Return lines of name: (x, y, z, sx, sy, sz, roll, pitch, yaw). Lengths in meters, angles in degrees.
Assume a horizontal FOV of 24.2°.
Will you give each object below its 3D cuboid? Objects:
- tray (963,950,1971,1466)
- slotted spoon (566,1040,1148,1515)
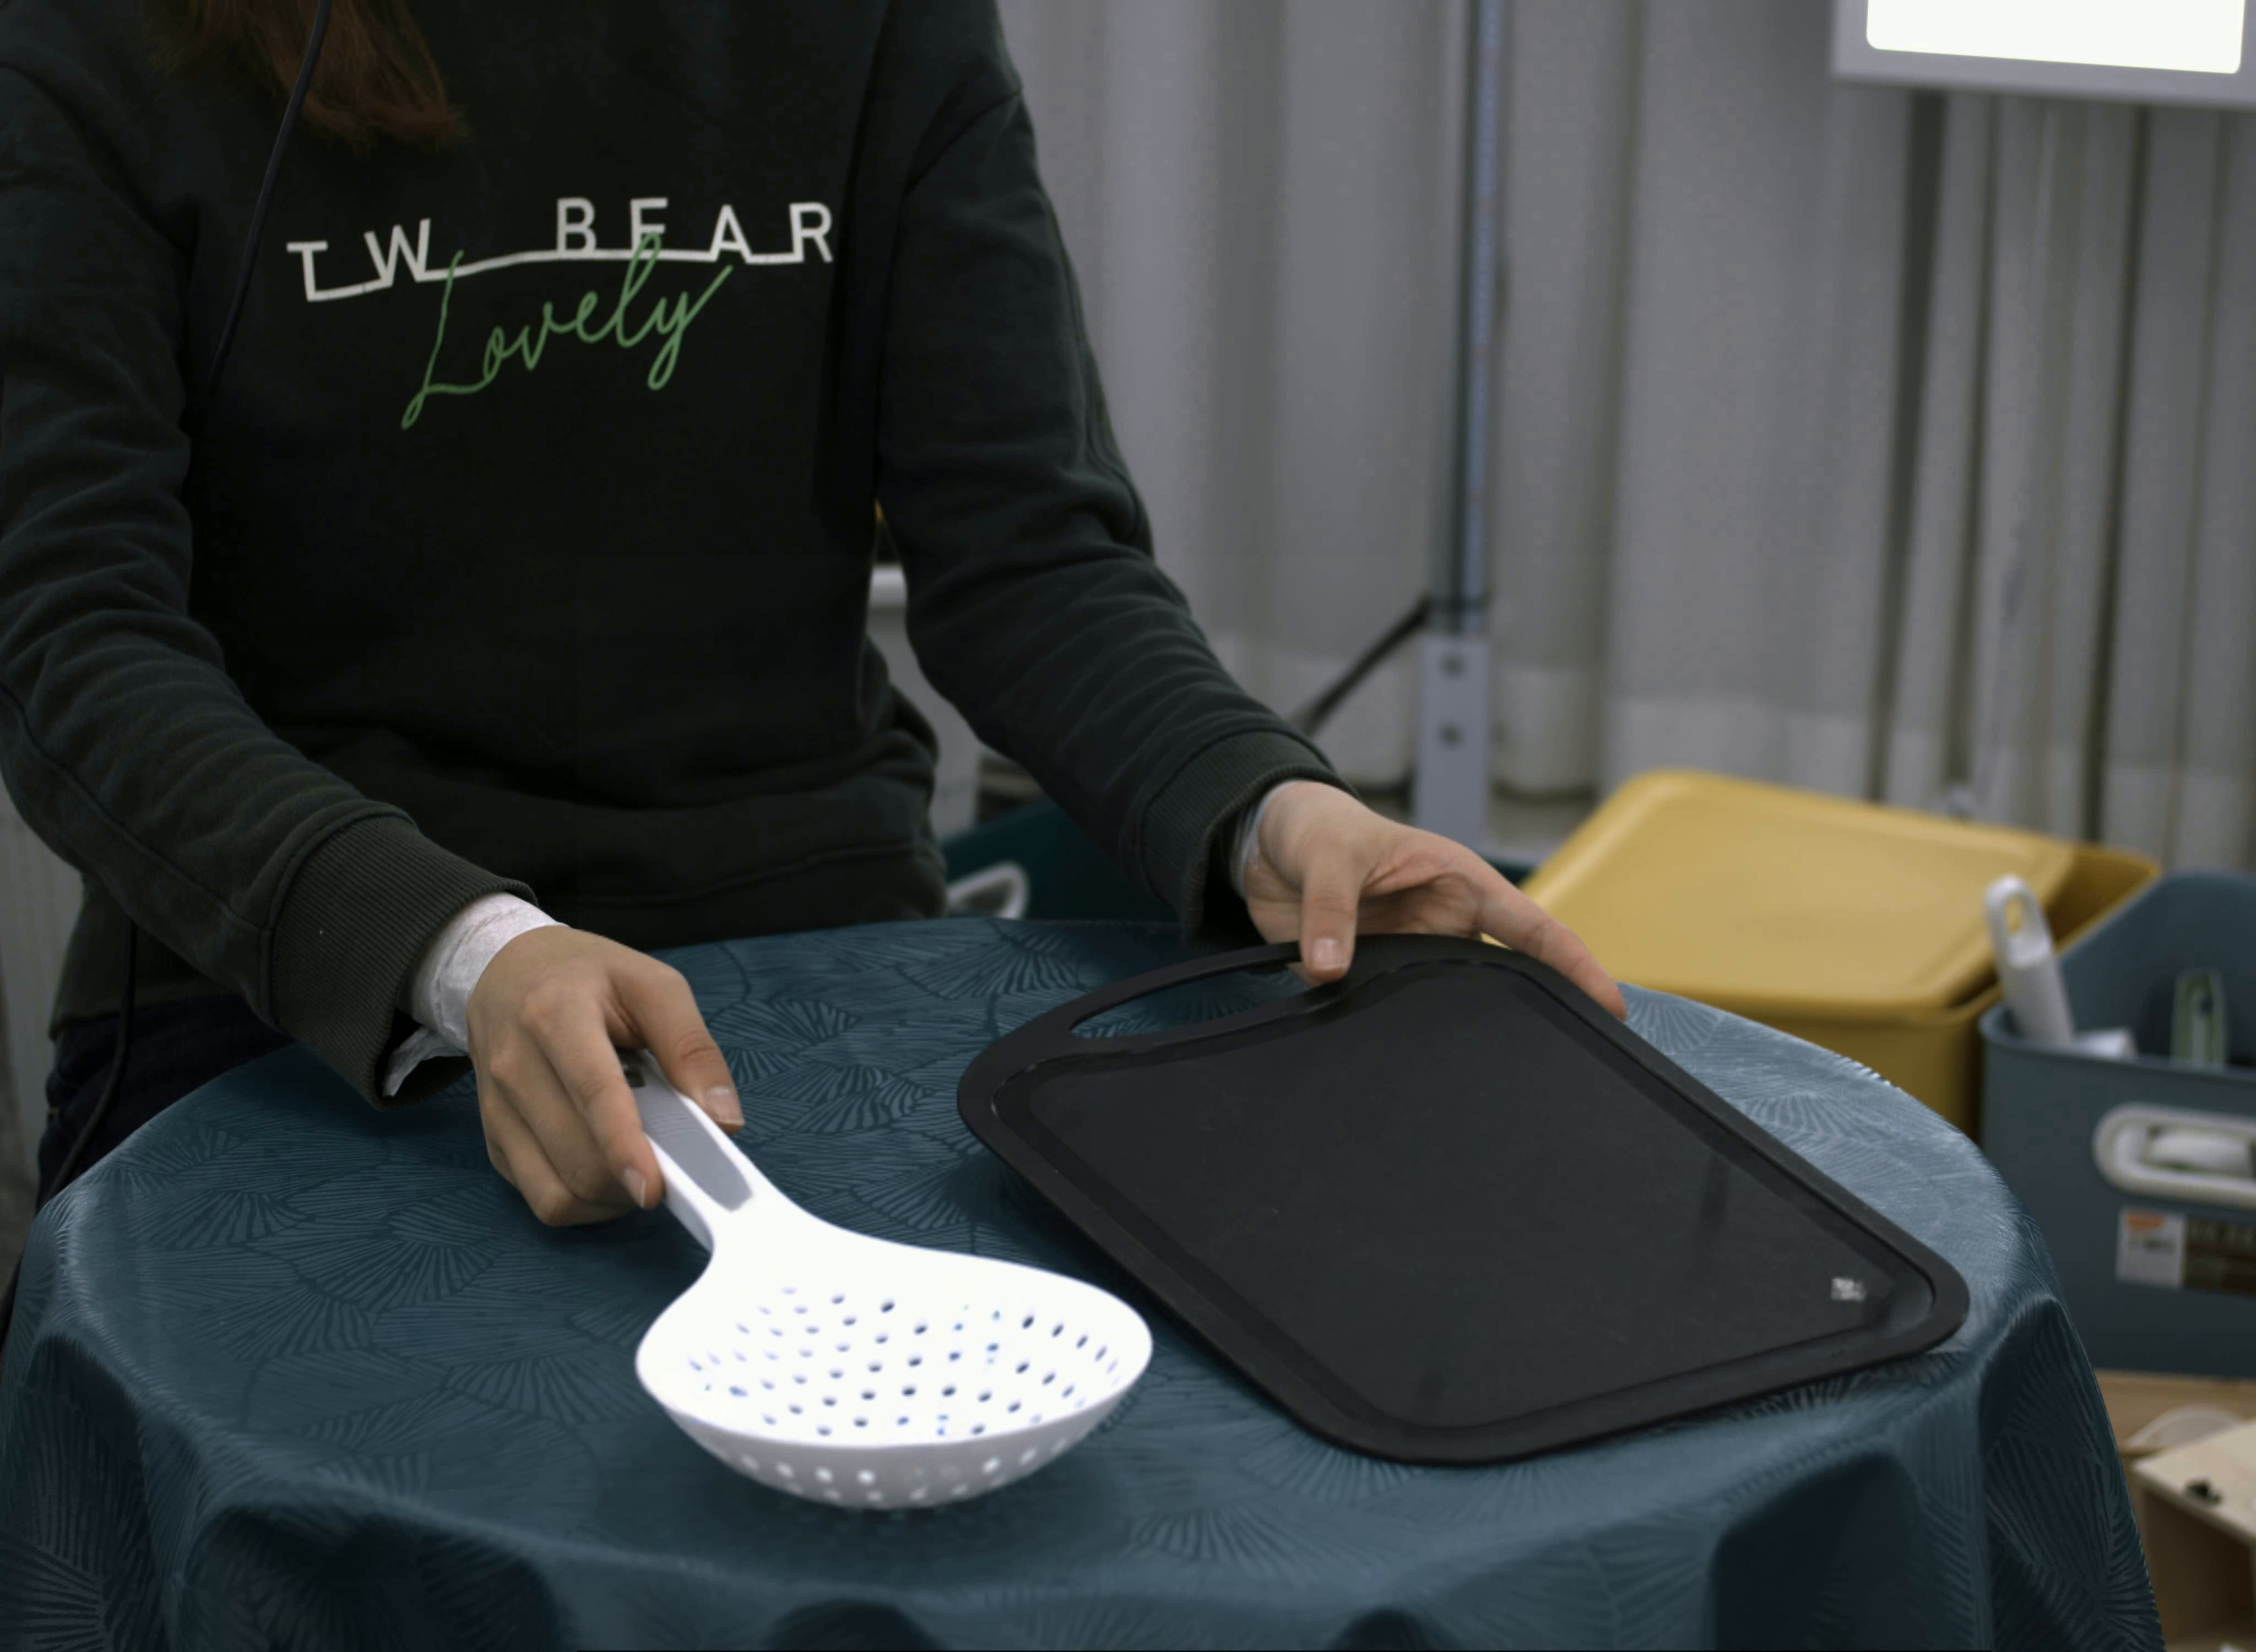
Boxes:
tray: (0.090, 0.104, 1.574, 0.212, 0.010, 0.321, -11, 26, -25)
slotted spoon: (-0.101, 0.118, 1.483, 0.136, 0.046, 0.345, -6, 22, -21)
